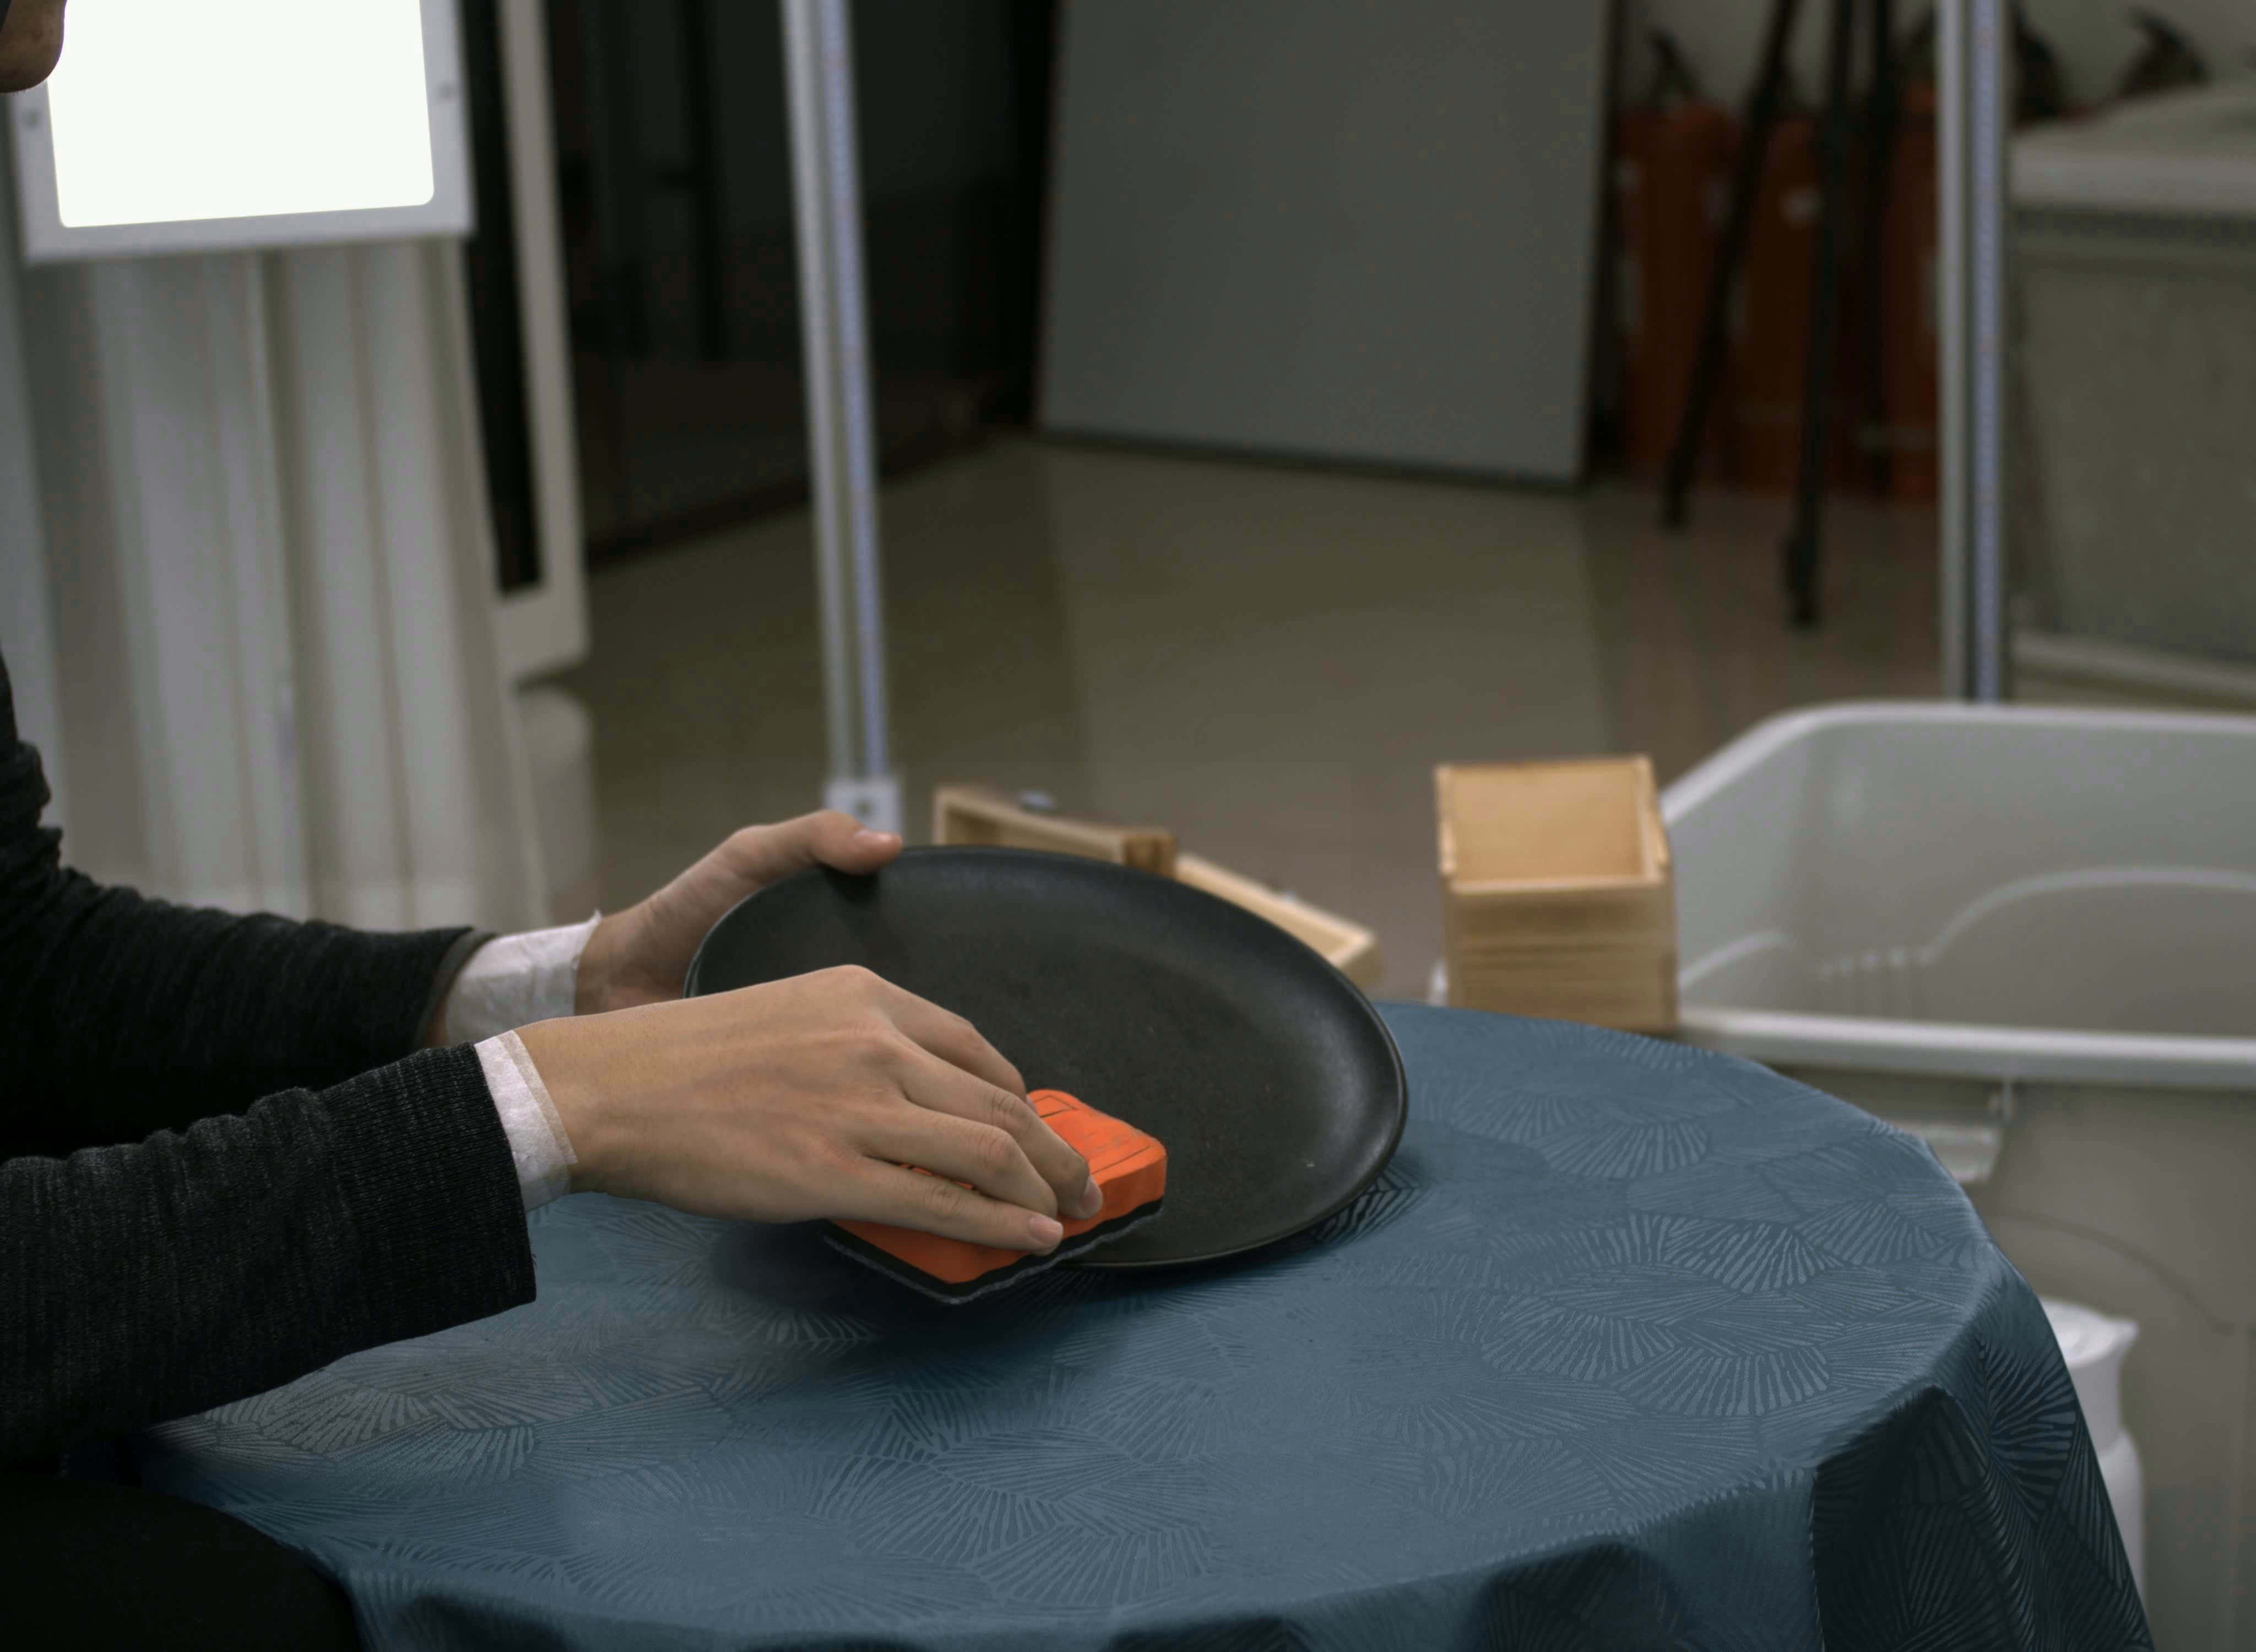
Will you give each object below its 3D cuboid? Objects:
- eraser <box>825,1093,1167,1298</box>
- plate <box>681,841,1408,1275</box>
[{"bbox_3d":[-0.040,0.113,1.670,0.059,0.023,0.106,21,26,37],"label":"eraser"},{"bbox_3d":[-0.027,0.079,1.769,0.241,0.023,0.245,5,32,-4],"label":"plate"}]
